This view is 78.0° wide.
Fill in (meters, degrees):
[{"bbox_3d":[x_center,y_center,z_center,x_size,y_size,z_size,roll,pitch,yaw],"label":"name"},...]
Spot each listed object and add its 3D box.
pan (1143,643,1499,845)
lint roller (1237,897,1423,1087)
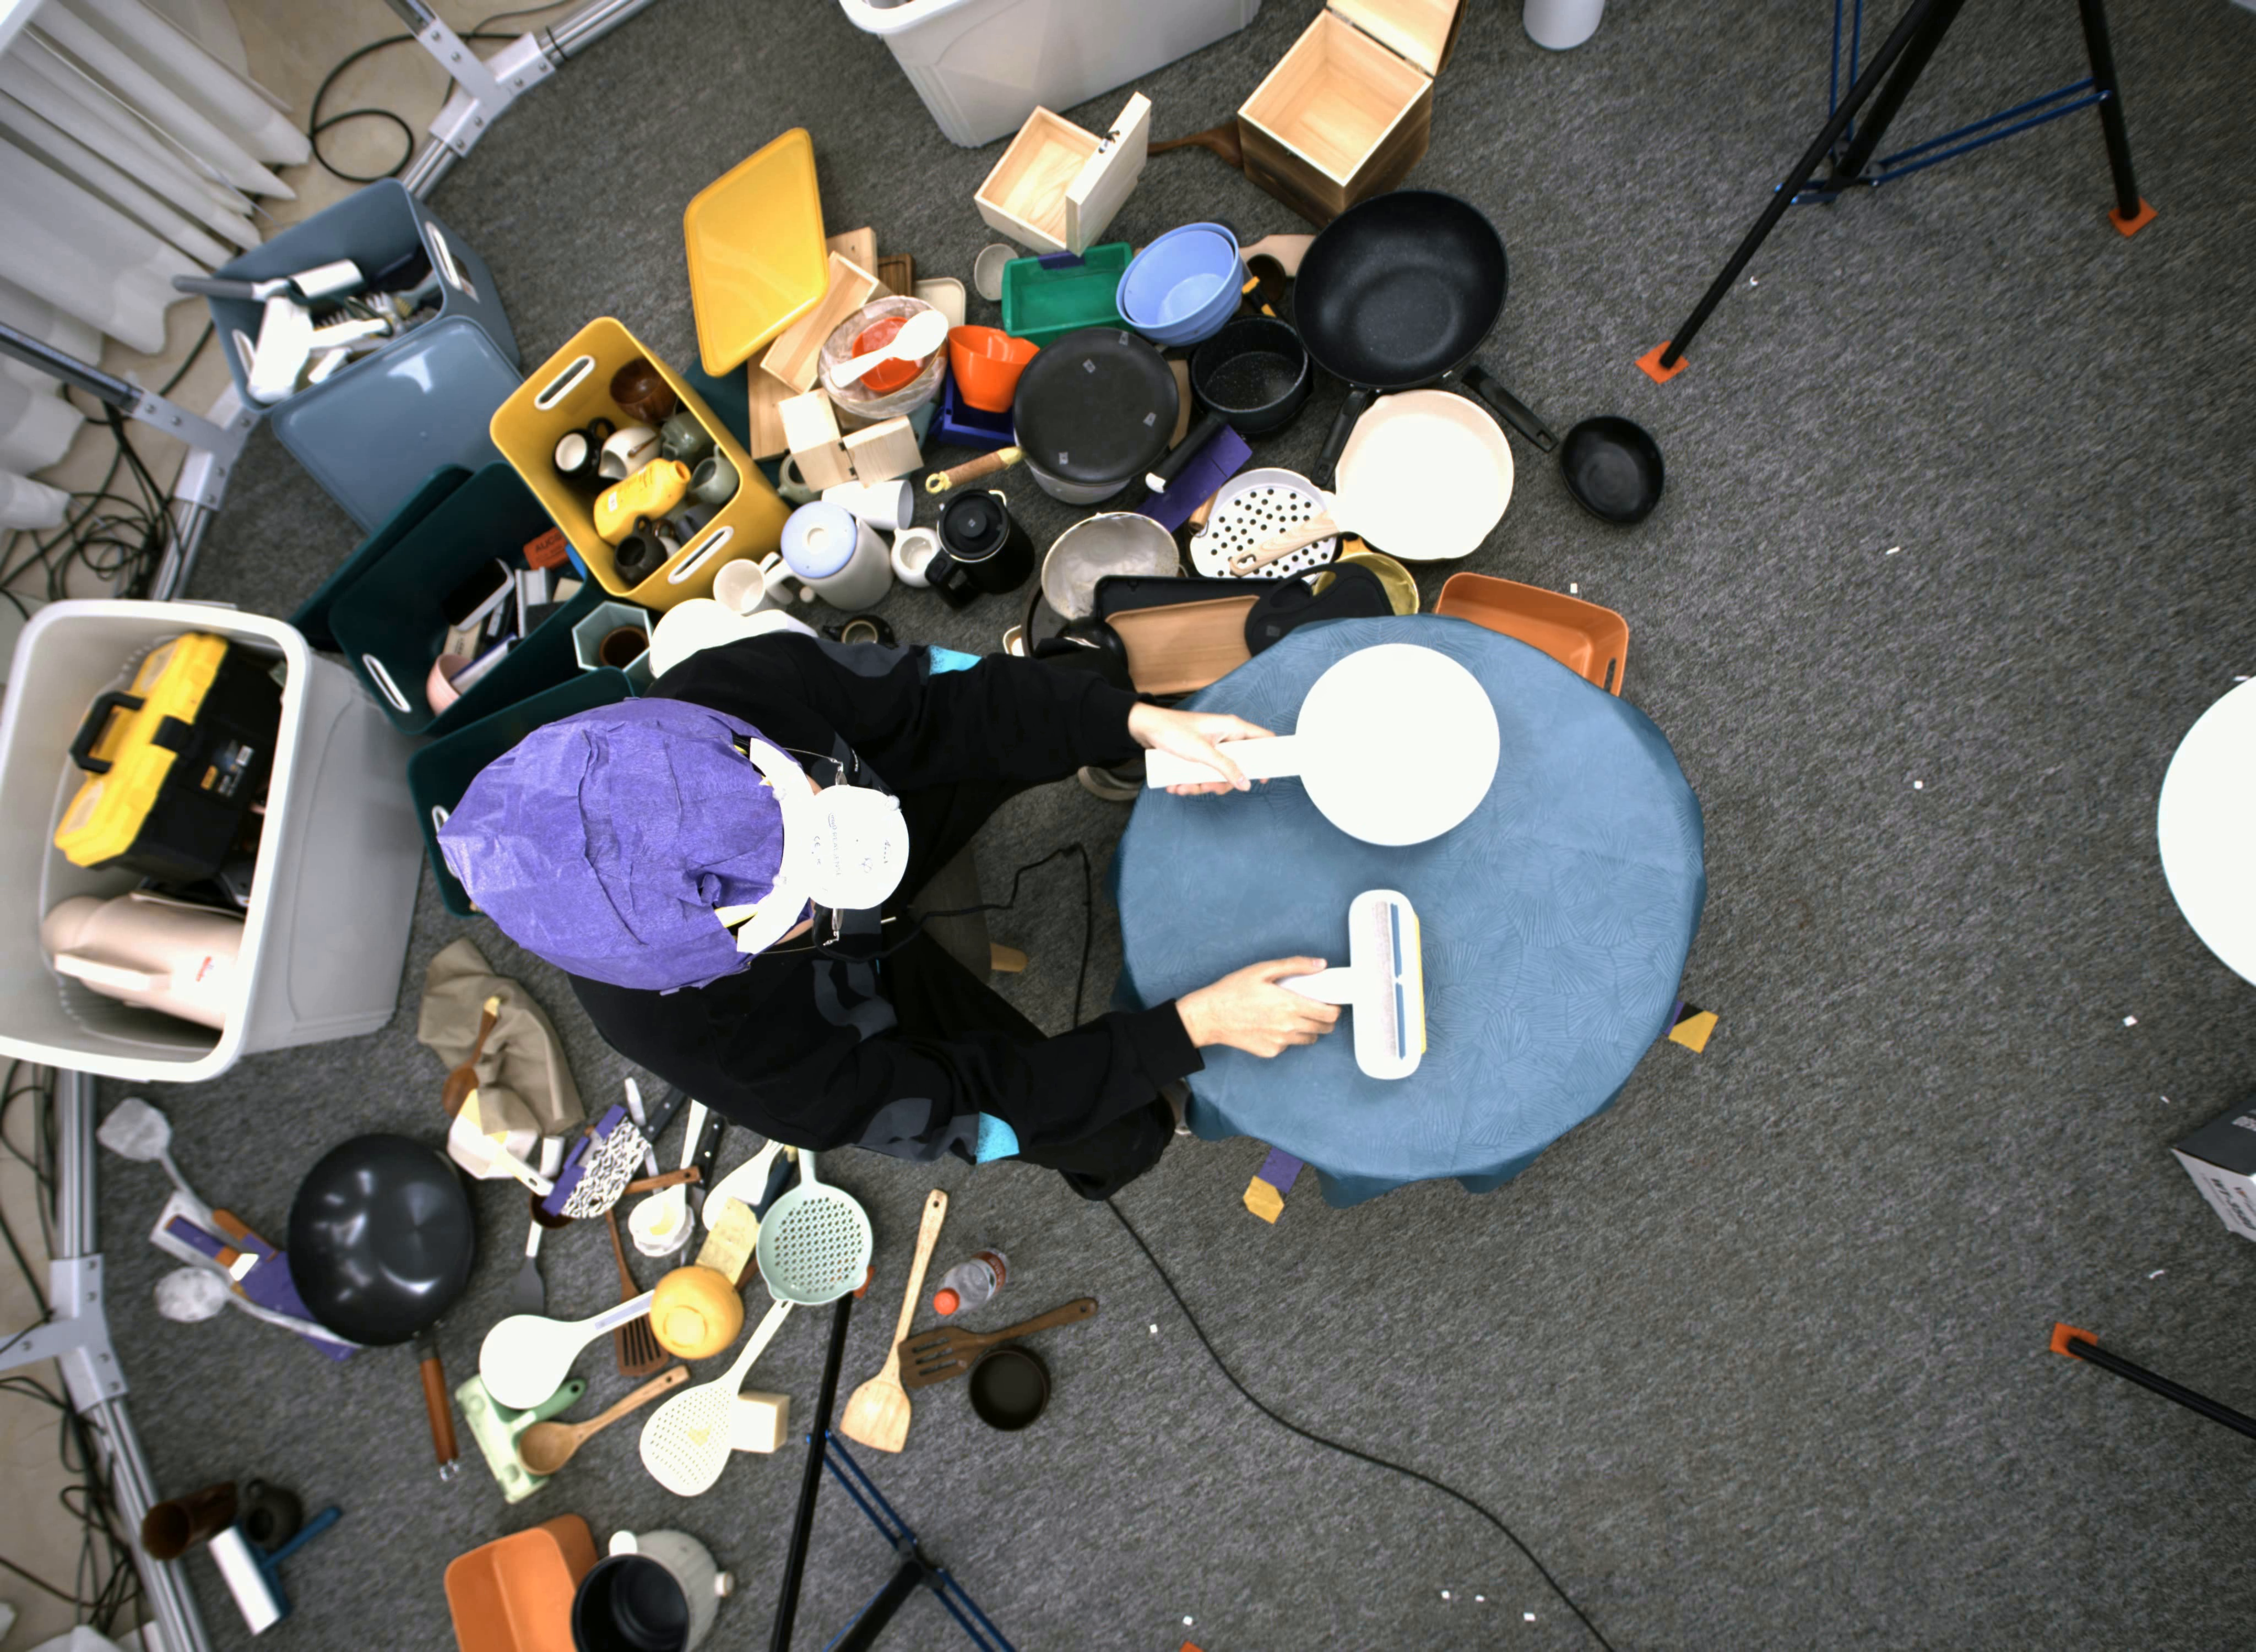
[{"bbox_3d":[0.197,-0.073,1.422,0.356,0.102,0.200,-5,85,10],"label":"pan"},{"bbox_3d":[0.206,0.168,1.428,0.193,0.074,0.191,0,81,12],"label":"lint roller"}]
